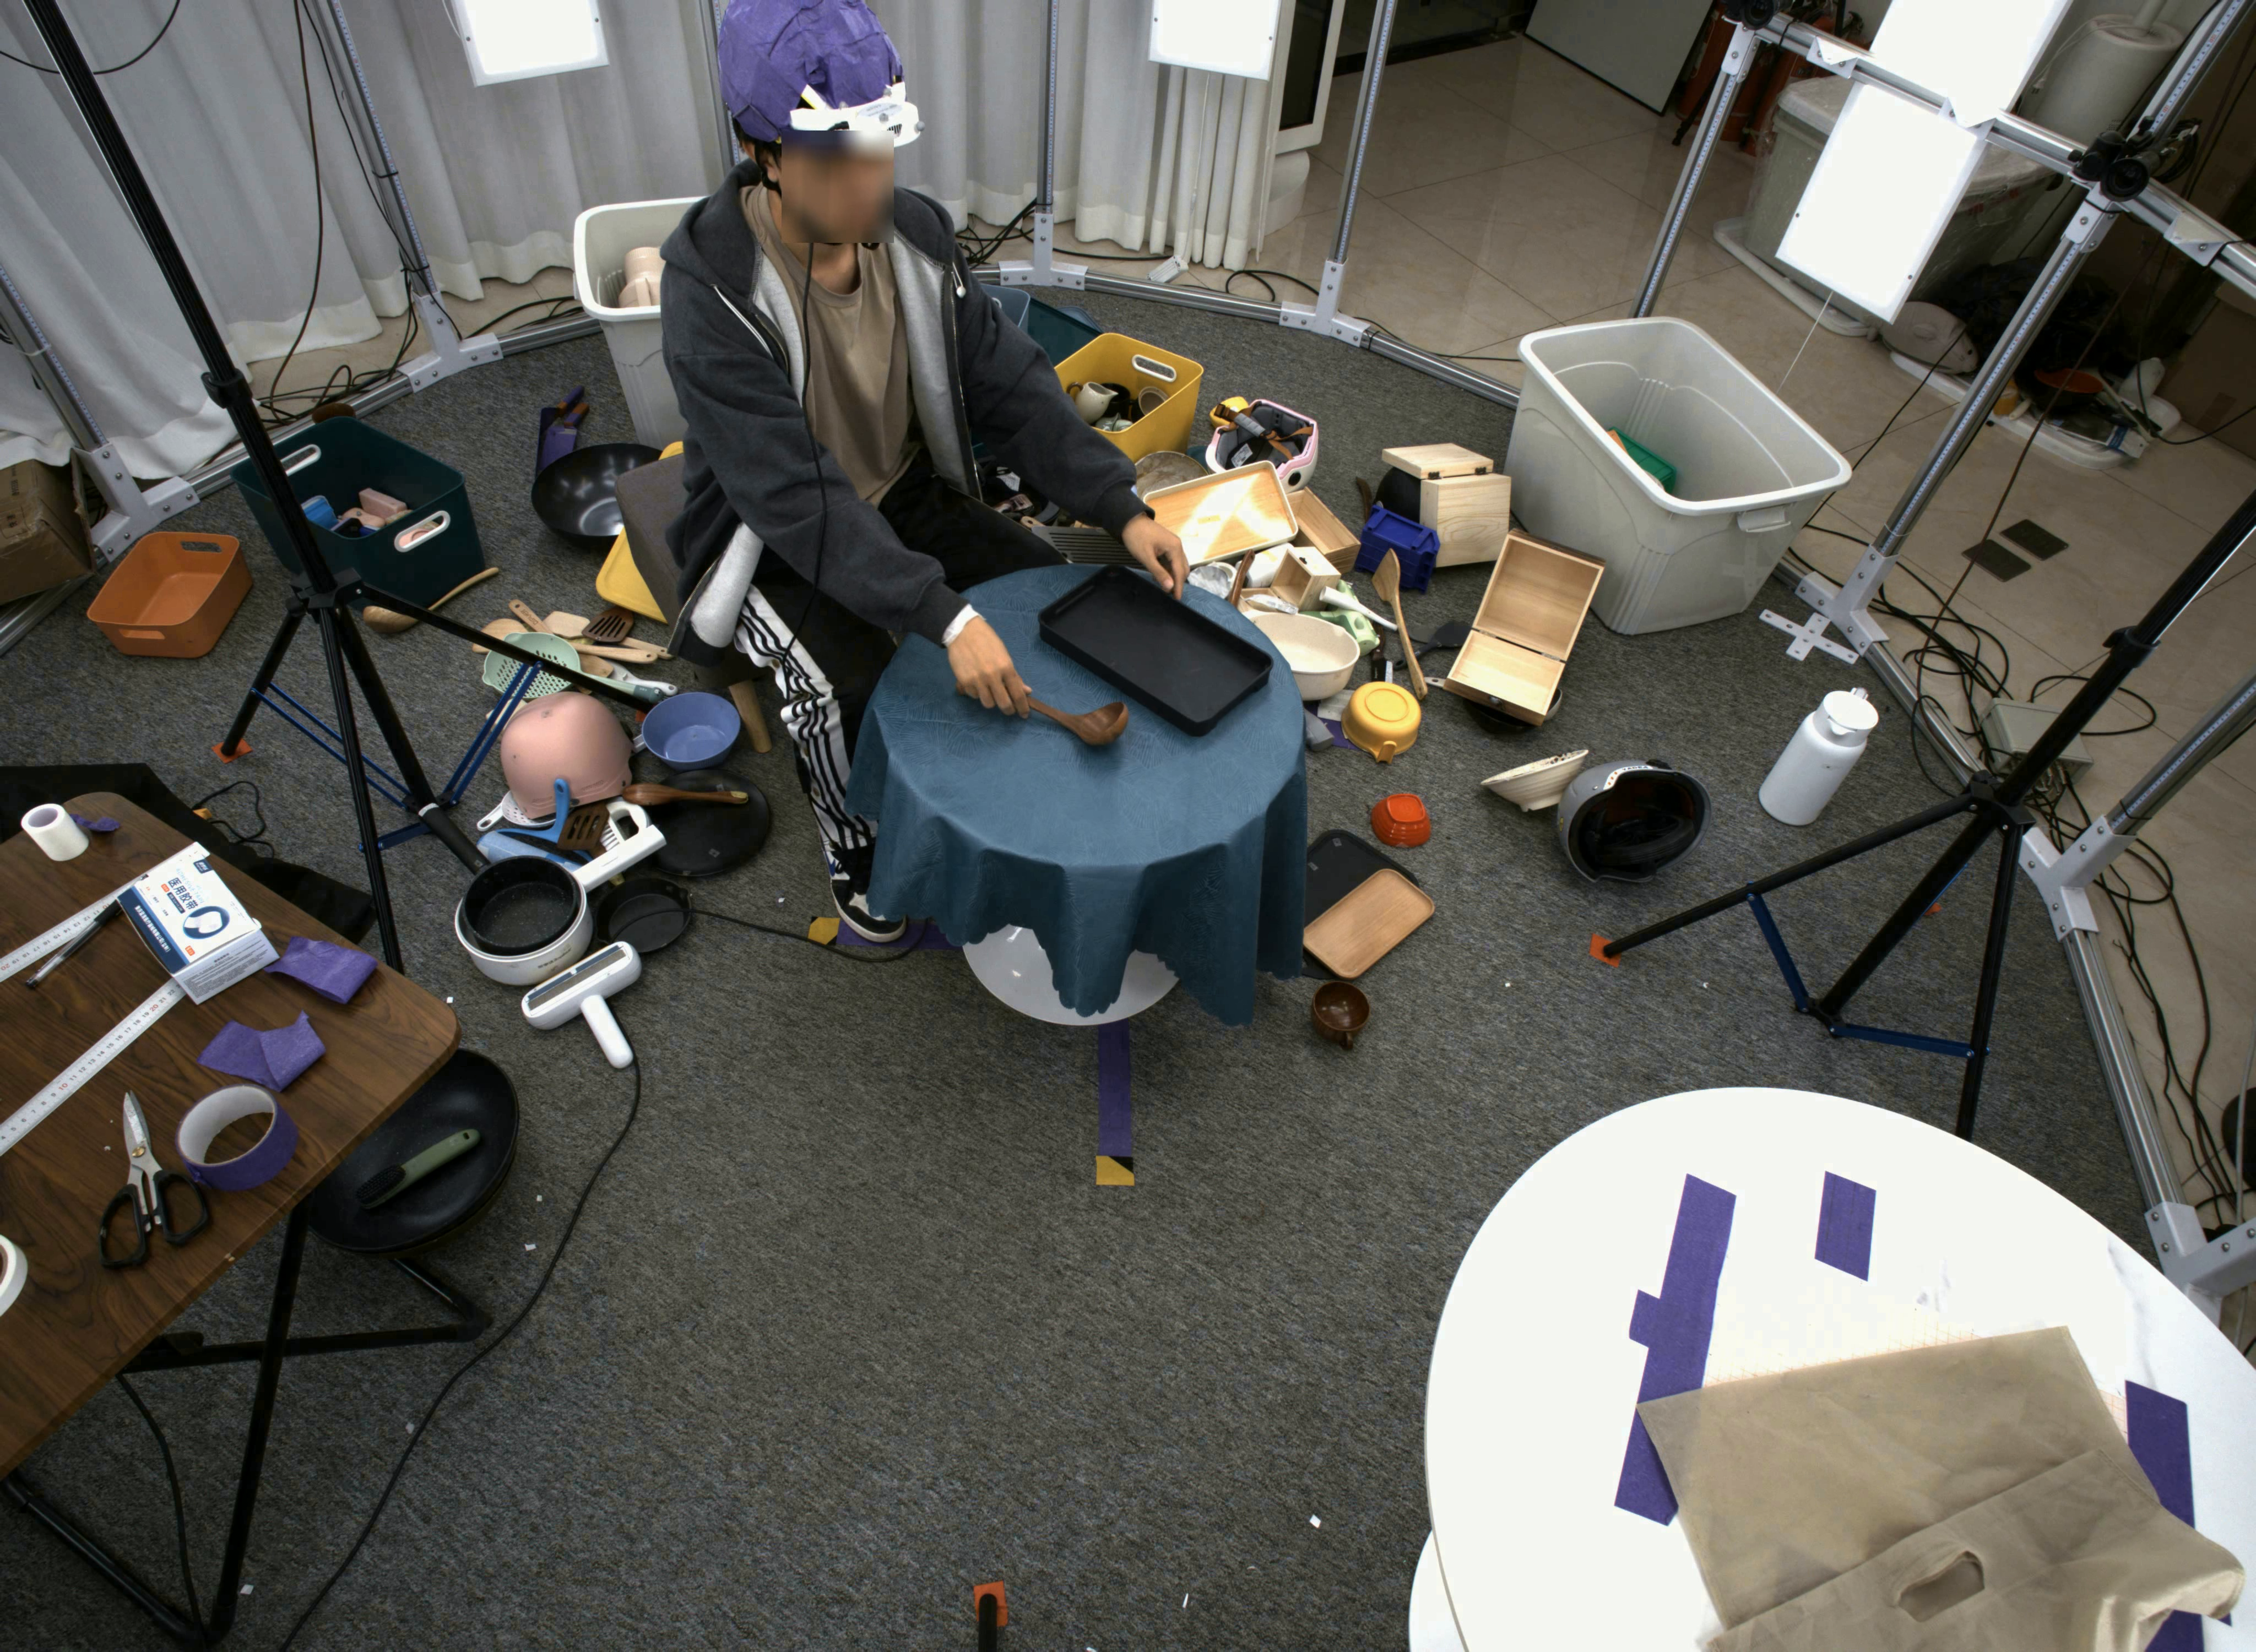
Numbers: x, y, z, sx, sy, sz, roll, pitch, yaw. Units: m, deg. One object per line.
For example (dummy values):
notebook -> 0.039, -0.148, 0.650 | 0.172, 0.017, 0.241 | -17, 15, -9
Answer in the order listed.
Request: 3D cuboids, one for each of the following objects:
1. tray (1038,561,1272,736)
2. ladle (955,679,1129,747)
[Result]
tray -> 0.037, -0.264, 1.871 | 0.322, 0.036, 0.186 | 36, 56, 23
ladle -> -0.122, -0.171, 1.765 | 0.261, 0.063, 0.078 | 20, 51, 14
